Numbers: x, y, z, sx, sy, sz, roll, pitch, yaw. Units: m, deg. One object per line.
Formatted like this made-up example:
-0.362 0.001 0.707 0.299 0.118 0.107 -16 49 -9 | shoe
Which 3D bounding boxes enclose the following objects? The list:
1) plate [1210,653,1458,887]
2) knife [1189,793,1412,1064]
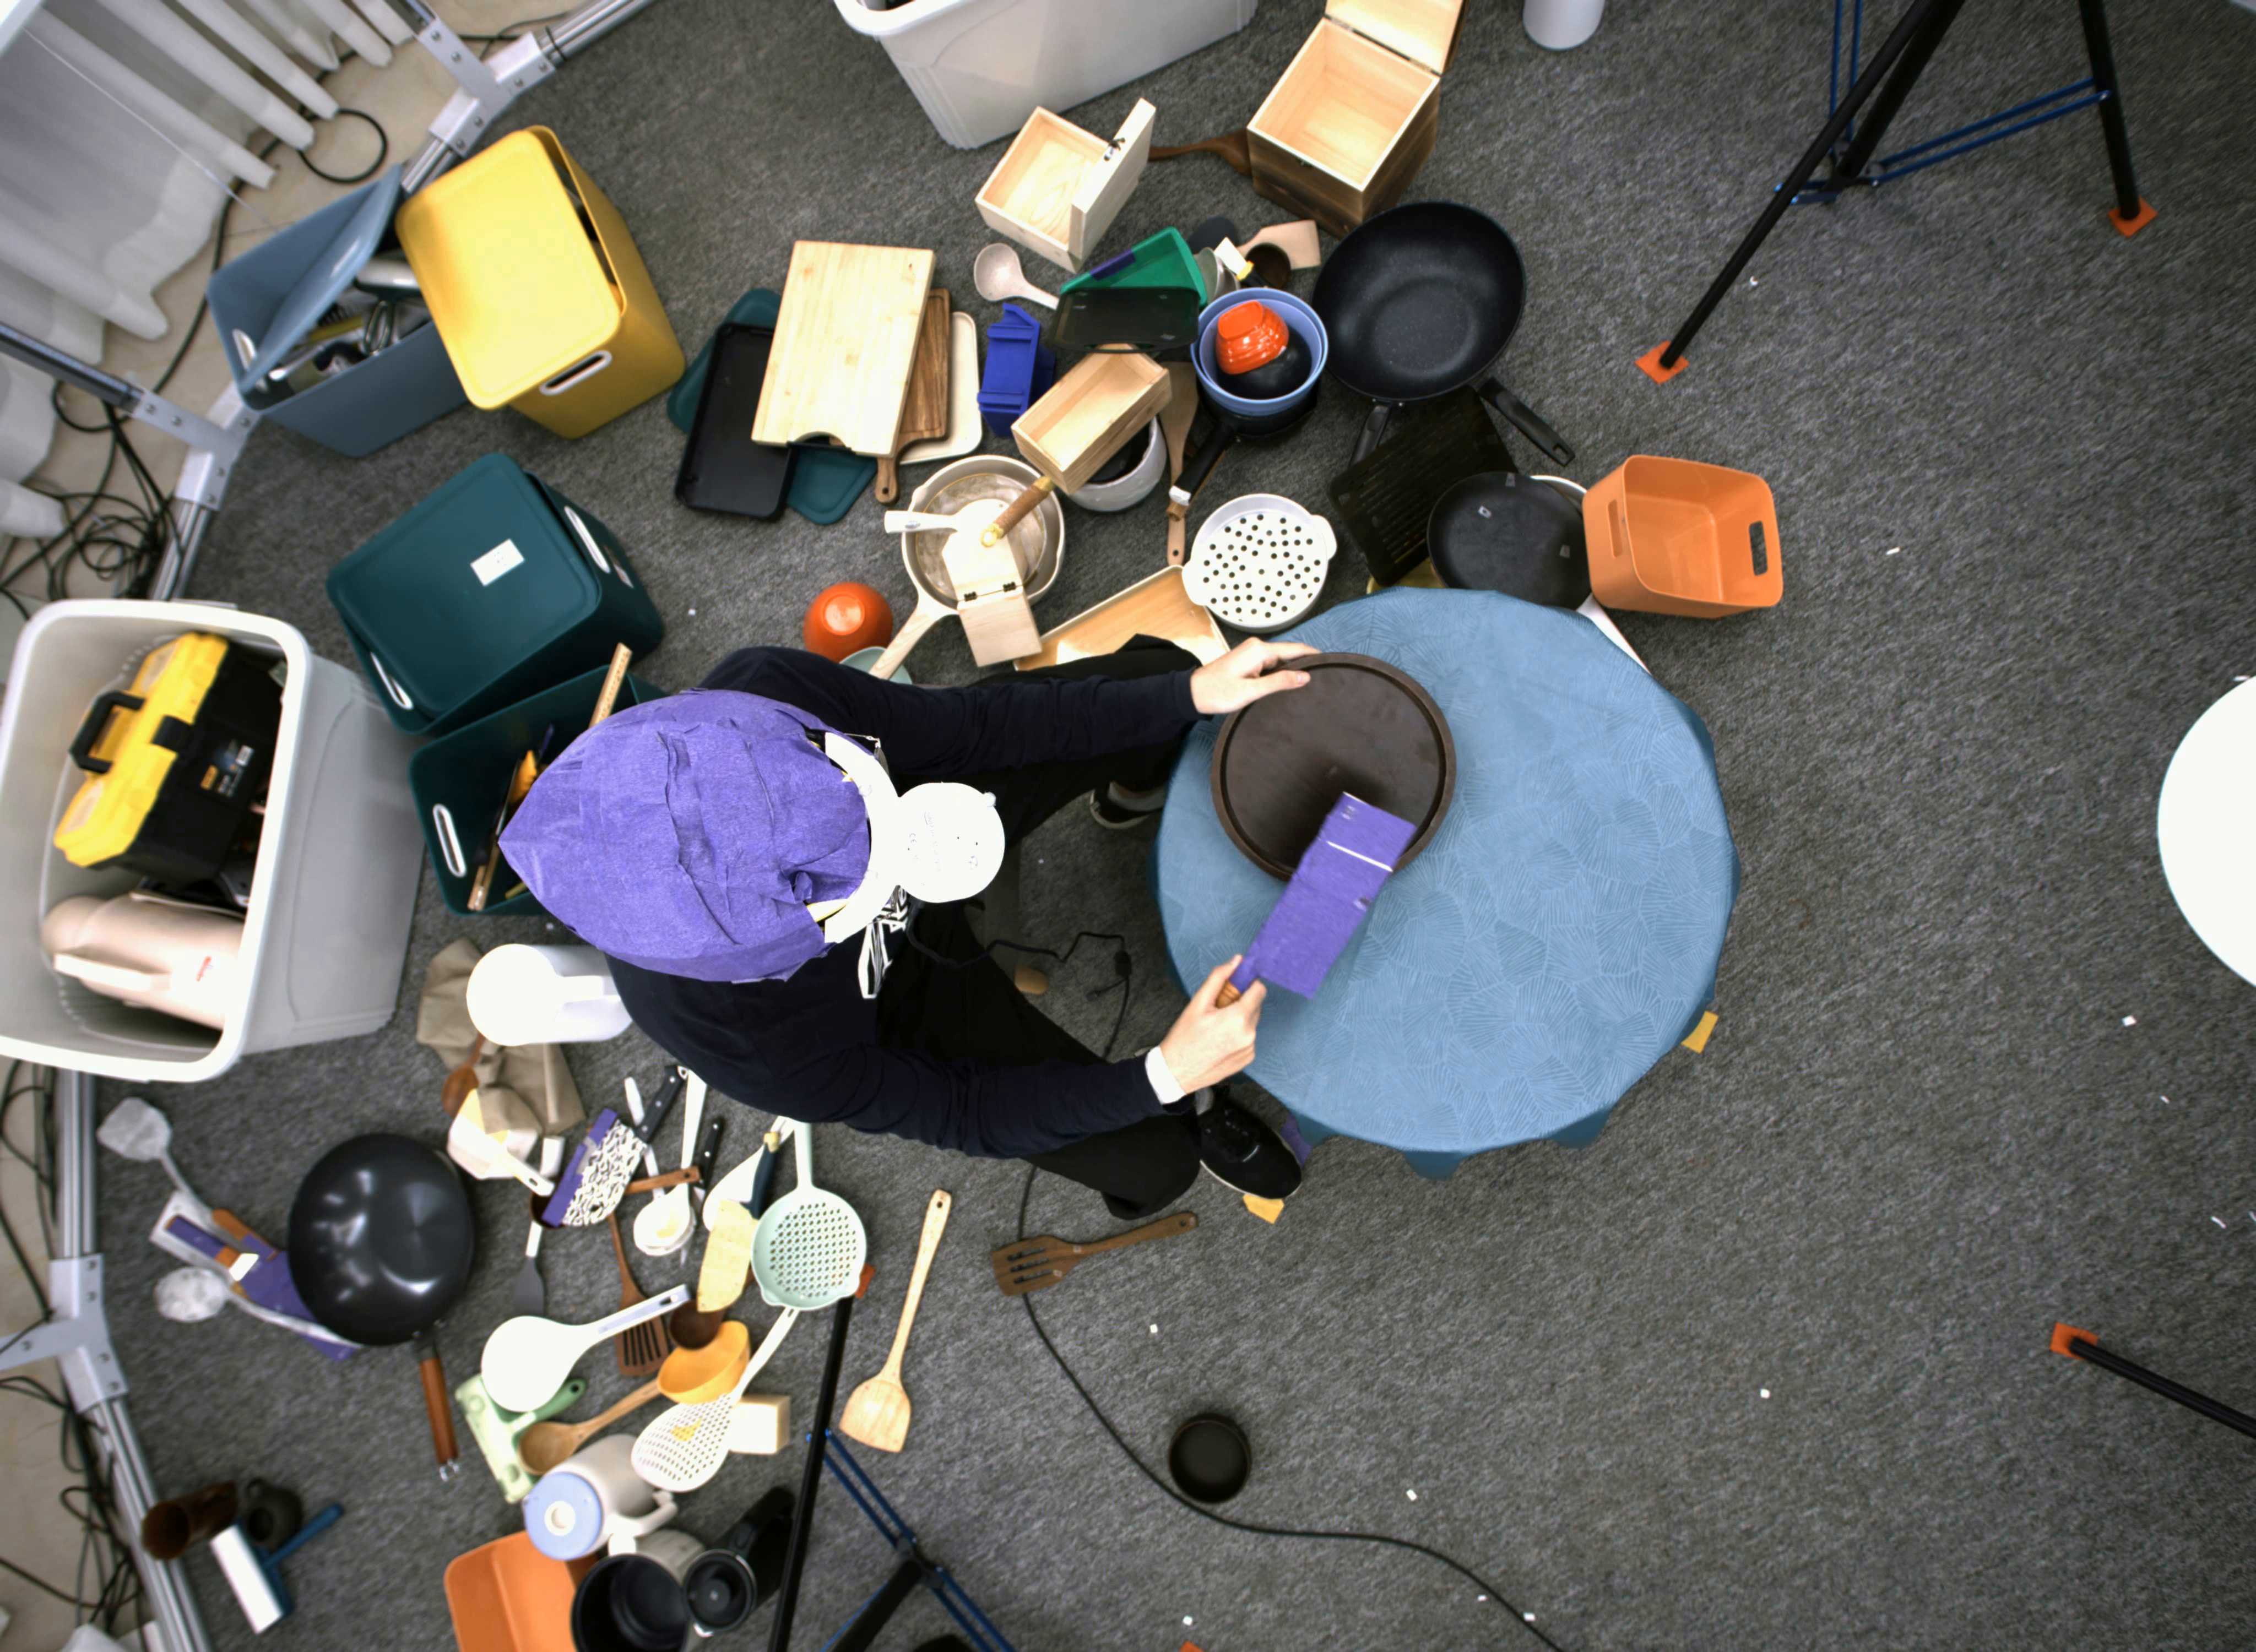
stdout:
0.211 -0.055 1.421 0.255 0.028 0.259 0 110 1 | plate
0.175 0.116 1.378 0.104 0.031 0.320 24 110 -19 | knife
